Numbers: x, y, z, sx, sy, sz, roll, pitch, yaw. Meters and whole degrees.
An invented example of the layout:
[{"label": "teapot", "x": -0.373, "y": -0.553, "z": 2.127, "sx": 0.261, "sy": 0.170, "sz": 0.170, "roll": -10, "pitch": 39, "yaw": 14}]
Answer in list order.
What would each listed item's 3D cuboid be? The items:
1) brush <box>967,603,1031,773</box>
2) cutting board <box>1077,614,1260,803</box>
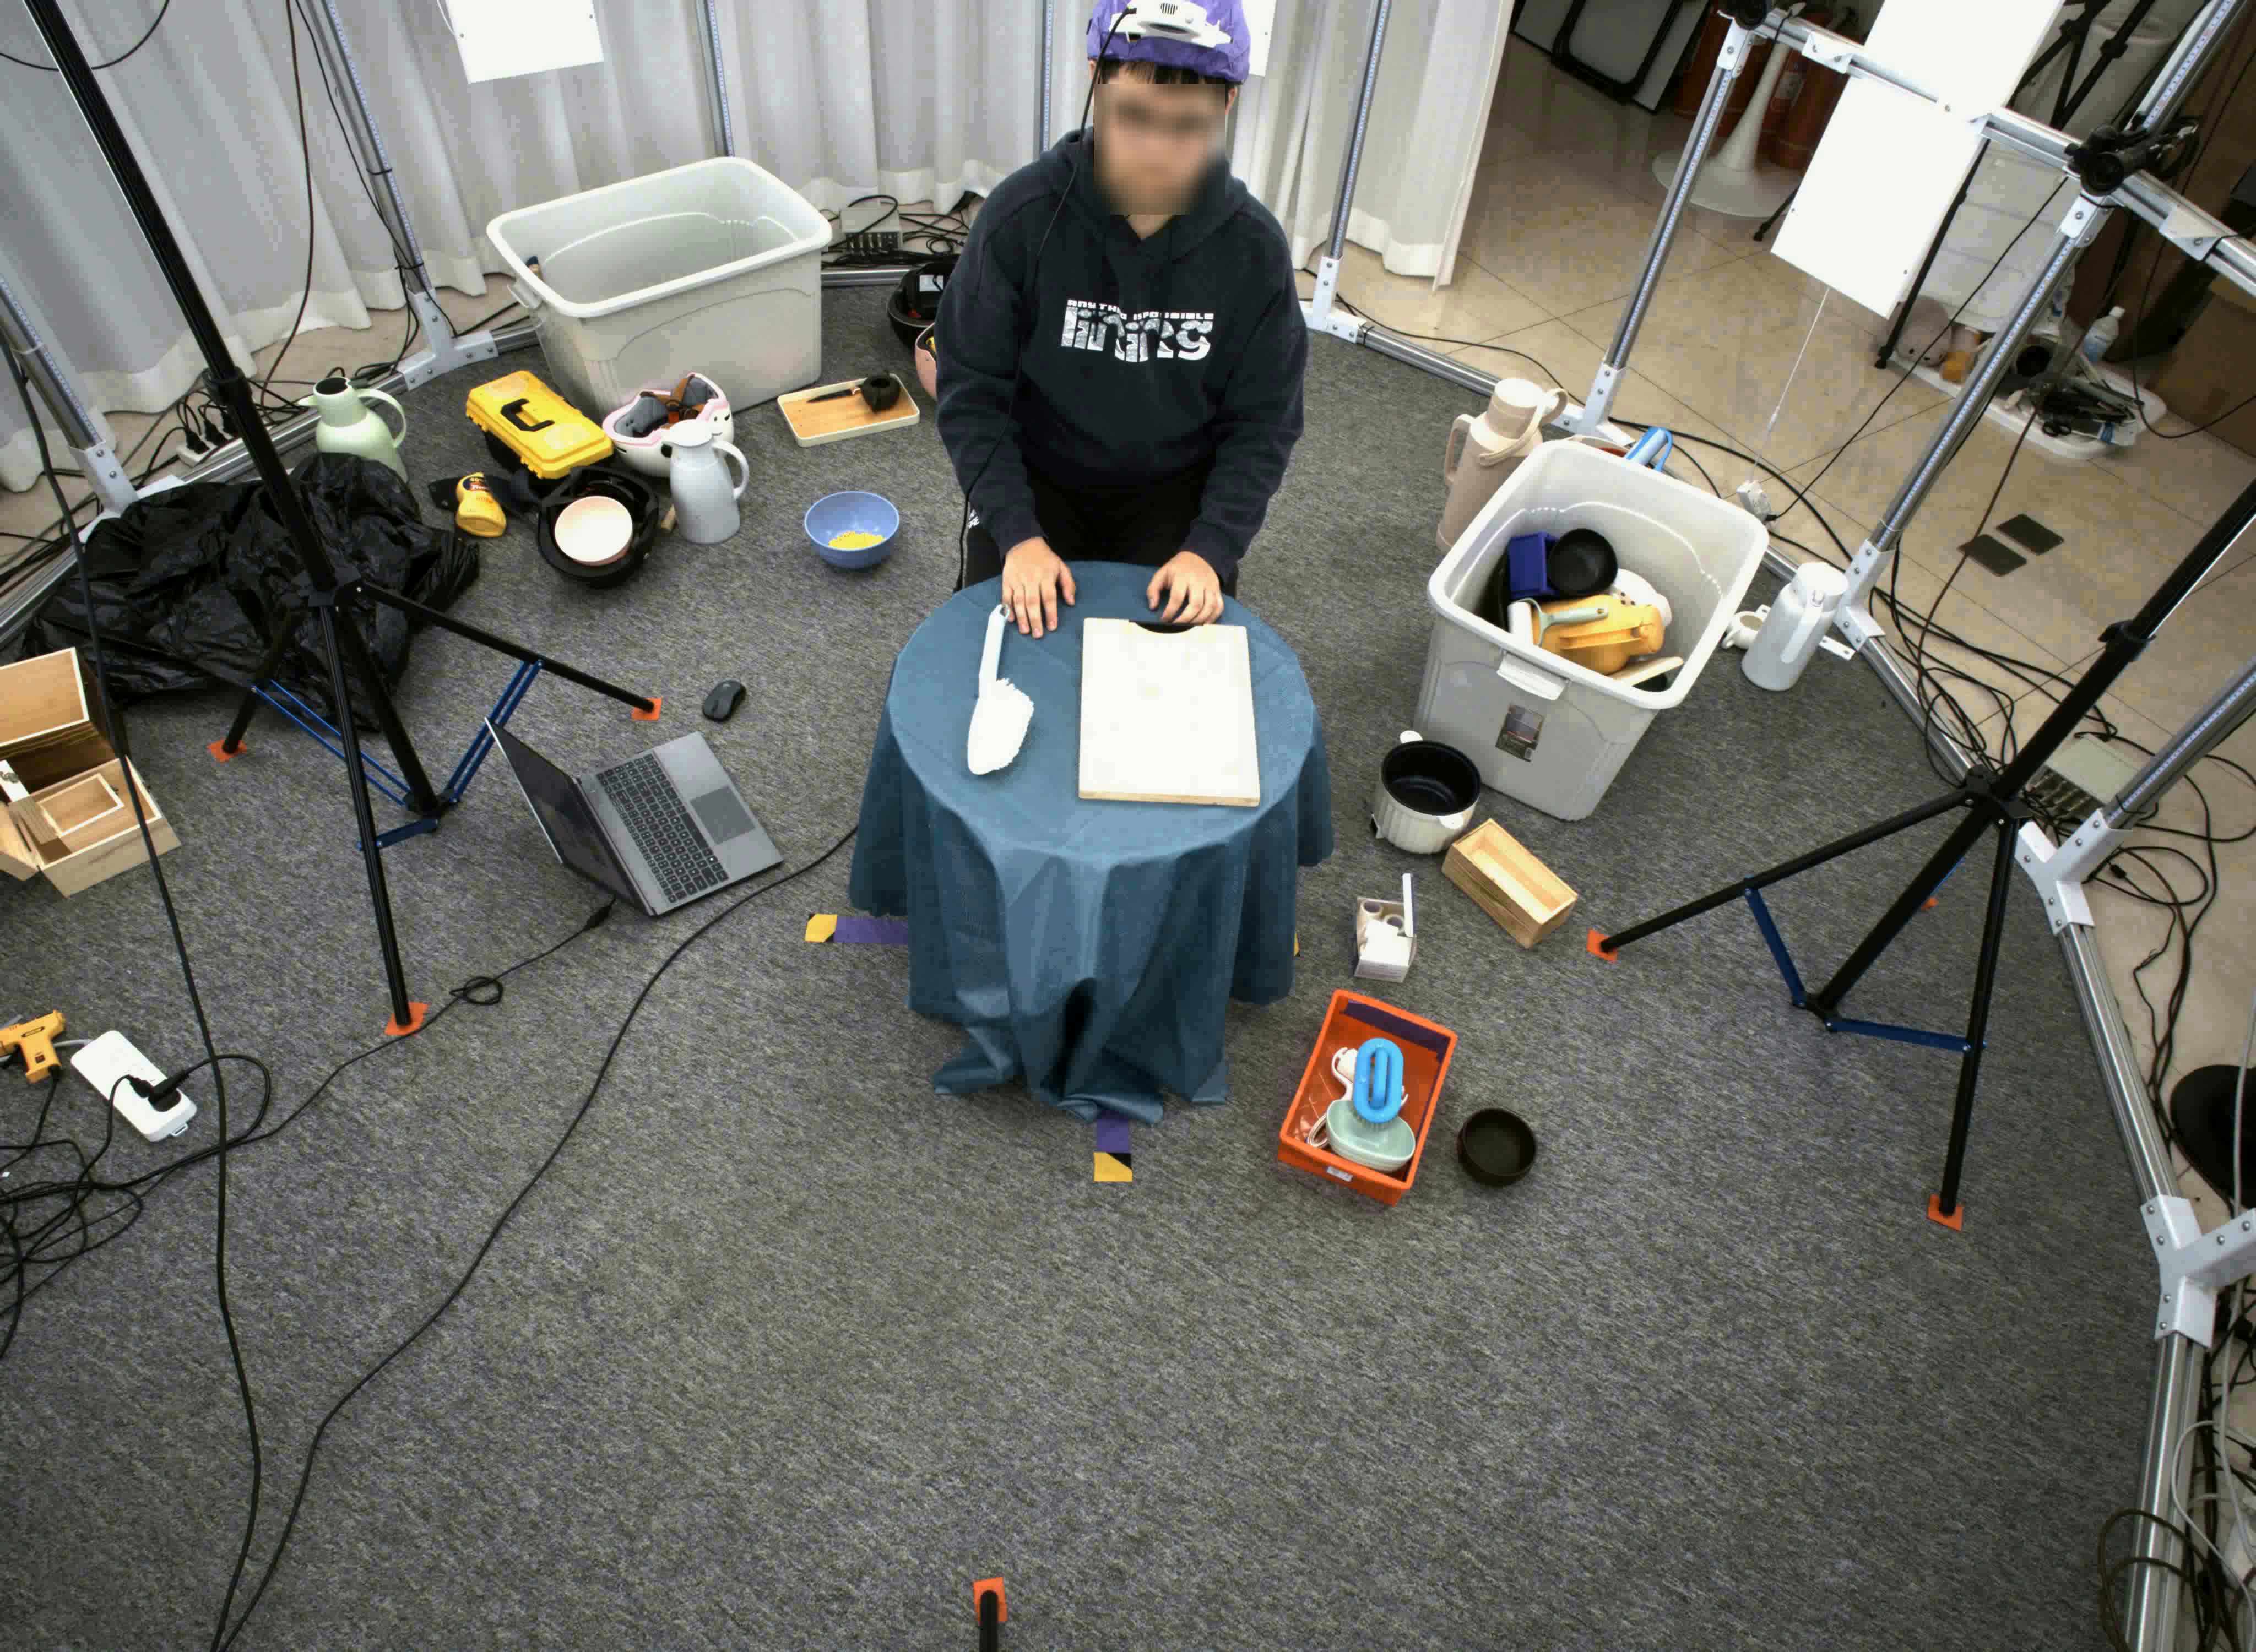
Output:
[{"label": "brush", "x": -0.172, "y": -0.212, "z": 1.783, "sx": 0.084, "sy": 0.081, "sz": 0.333, "roll": -1, "pitch": 50, "yaw": 6}, {"label": "cutting board", "x": 0.055, "y": -0.171, "z": 1.808, "sx": 0.250, "sy": 0.023, "sz": 0.357, "roll": 2, "pitch": 49, "yaw": -3}]
